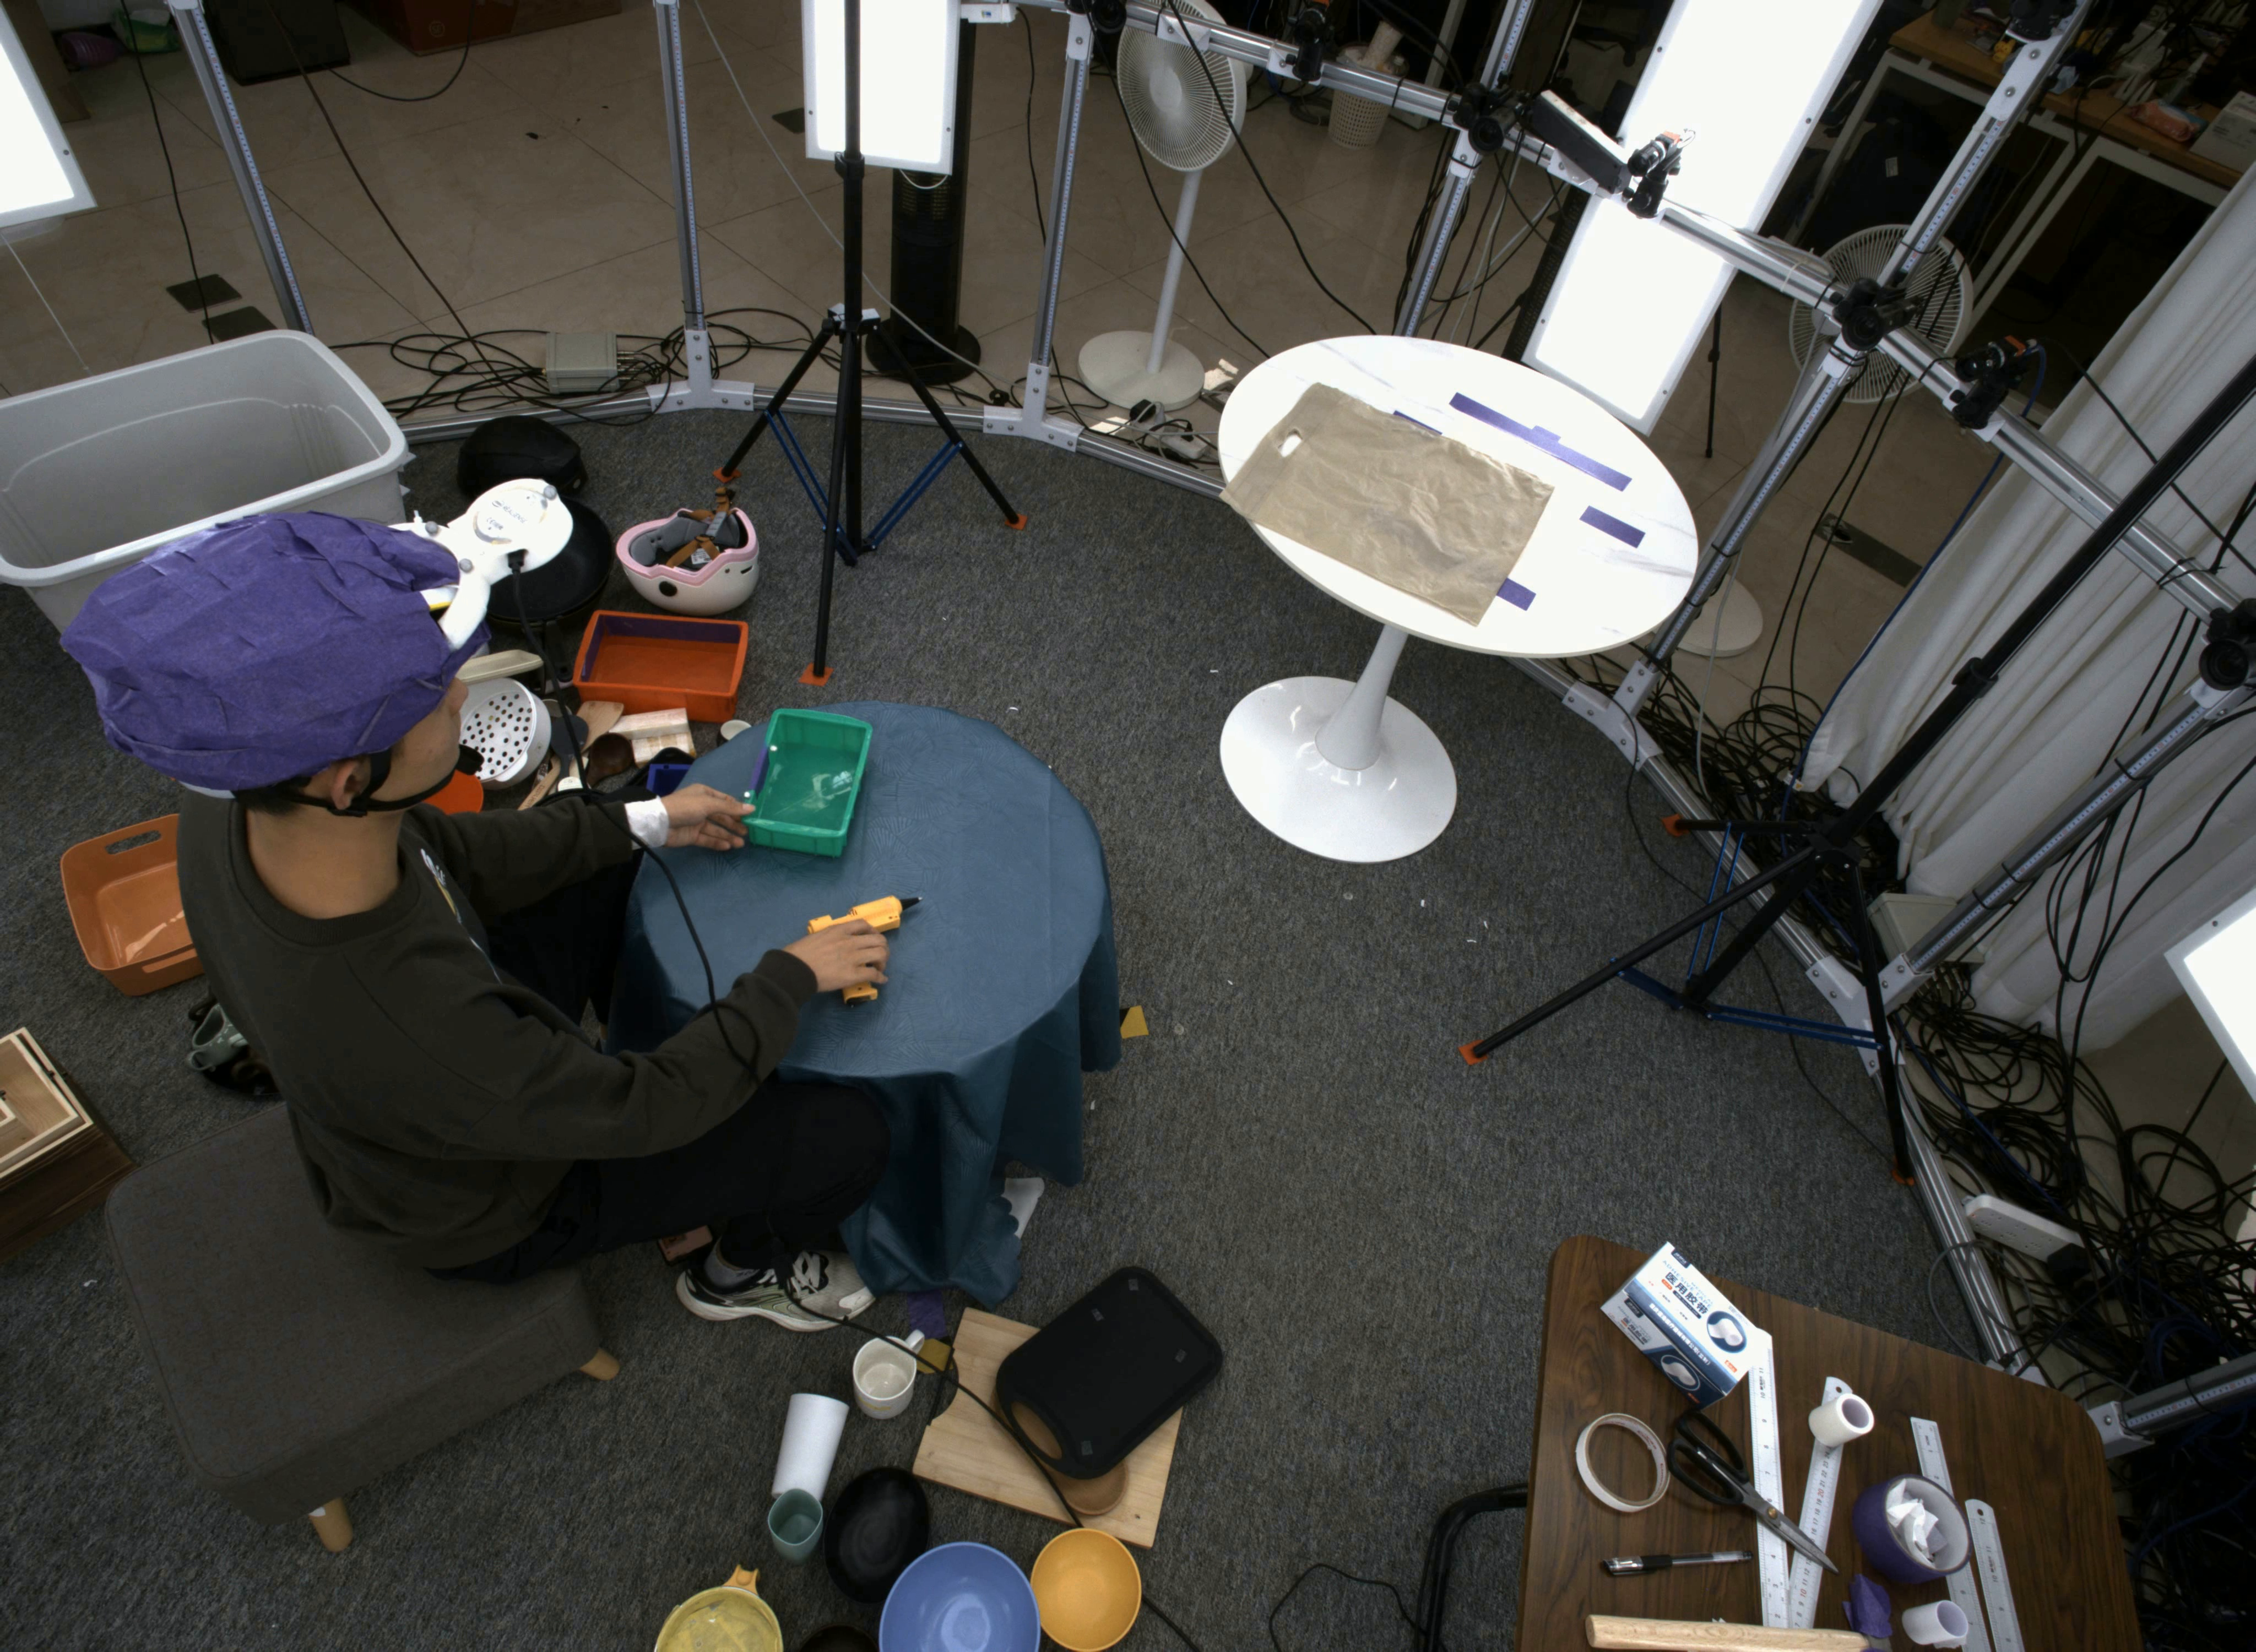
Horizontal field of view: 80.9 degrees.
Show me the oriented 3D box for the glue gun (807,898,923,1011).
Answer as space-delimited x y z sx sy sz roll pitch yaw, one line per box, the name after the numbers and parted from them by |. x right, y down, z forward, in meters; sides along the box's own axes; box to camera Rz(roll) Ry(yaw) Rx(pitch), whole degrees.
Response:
-0.308 0.148 1.624 0.152 0.031 0.130 -21 64 -27 | glue gun

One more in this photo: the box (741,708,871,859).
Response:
-0.422 -0.054 1.719 0.138 0.067 0.207 7 55 -6 | box
